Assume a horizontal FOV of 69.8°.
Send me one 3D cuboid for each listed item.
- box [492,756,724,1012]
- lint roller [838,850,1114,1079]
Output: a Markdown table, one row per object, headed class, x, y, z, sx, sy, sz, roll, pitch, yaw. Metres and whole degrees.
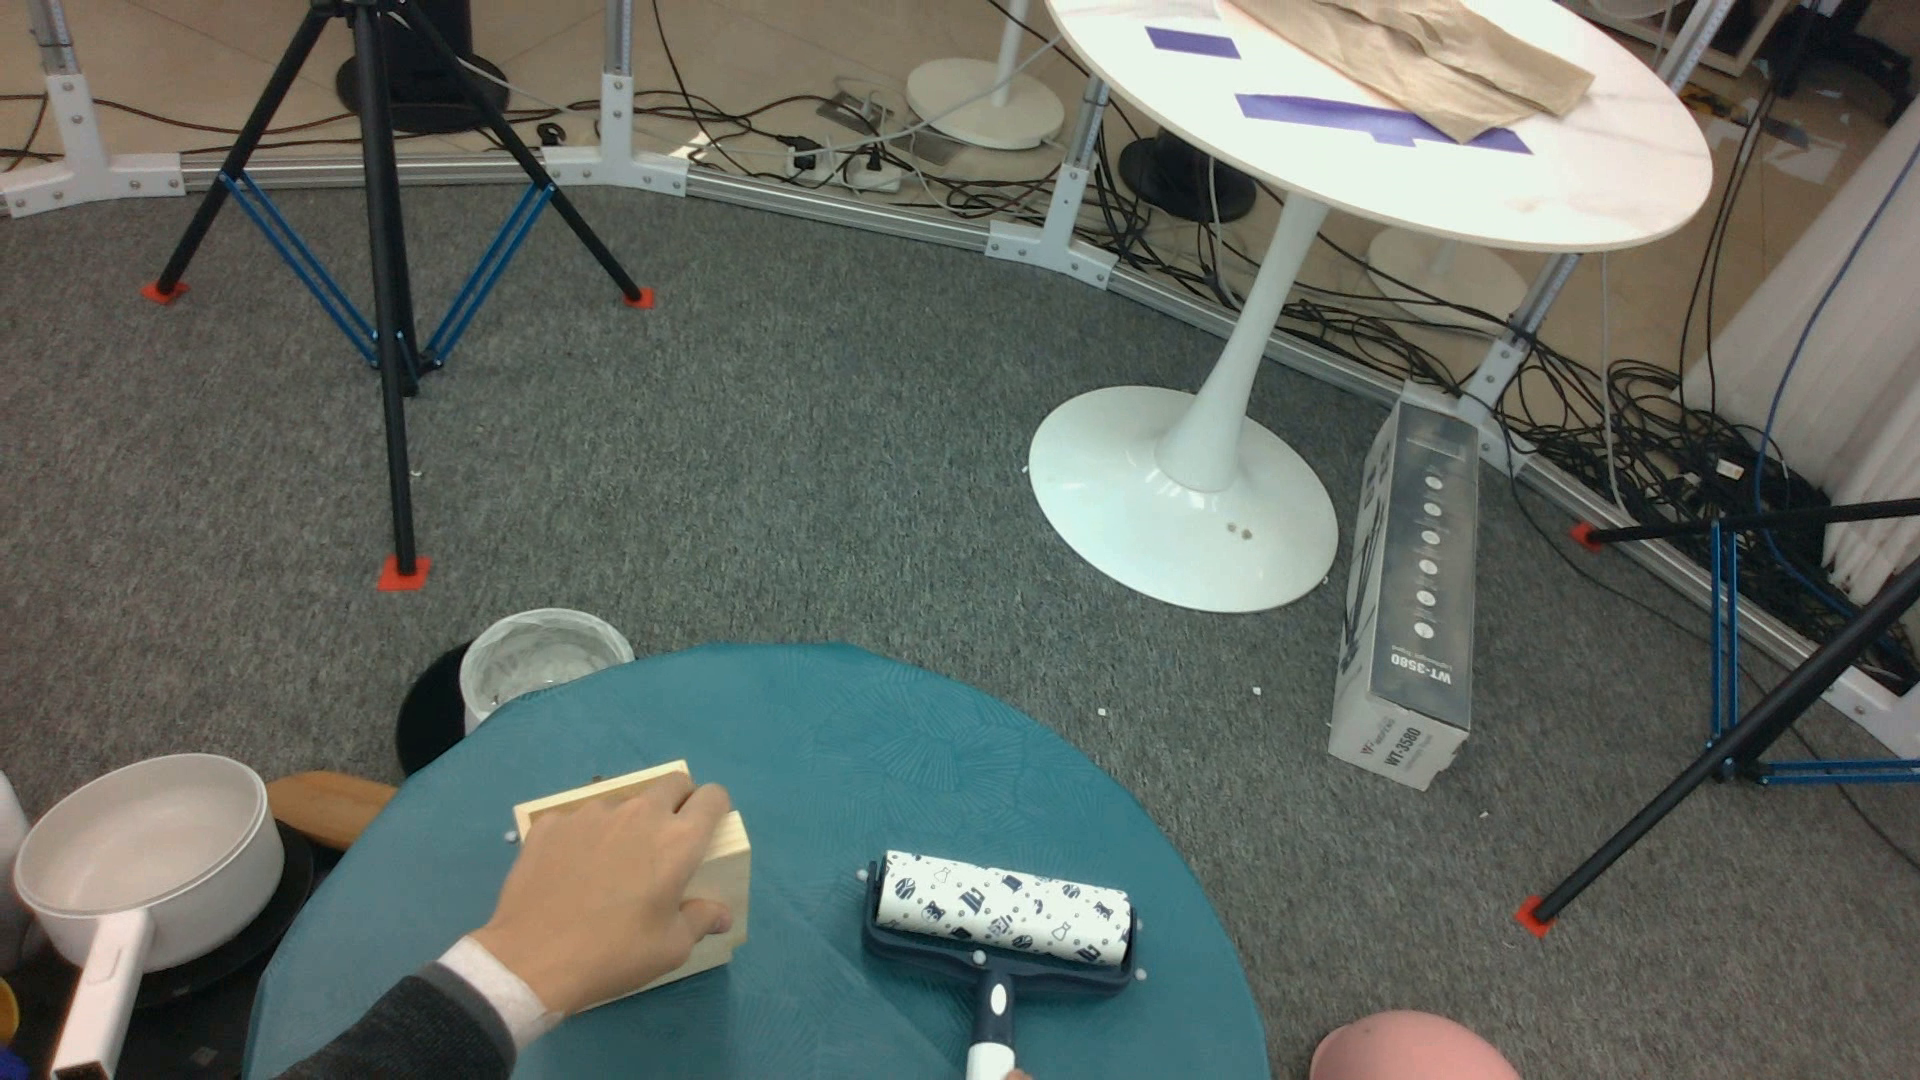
| class | x | y | z | sx | sy | sz | roll | pitch | yaw |
| --- | --- | --- | --- | --- | --- | --- | --- | --- | --- |
| box | -0.200 | 0.175 | 0.771 | 0.103 | 0.183 | 0.134 | -14 | 53 | -22 |
| lint roller | 0.007 | 0.307 | 0.812 | 0.176 | 0.050 | 0.248 | 12 | 45 | -7 |
